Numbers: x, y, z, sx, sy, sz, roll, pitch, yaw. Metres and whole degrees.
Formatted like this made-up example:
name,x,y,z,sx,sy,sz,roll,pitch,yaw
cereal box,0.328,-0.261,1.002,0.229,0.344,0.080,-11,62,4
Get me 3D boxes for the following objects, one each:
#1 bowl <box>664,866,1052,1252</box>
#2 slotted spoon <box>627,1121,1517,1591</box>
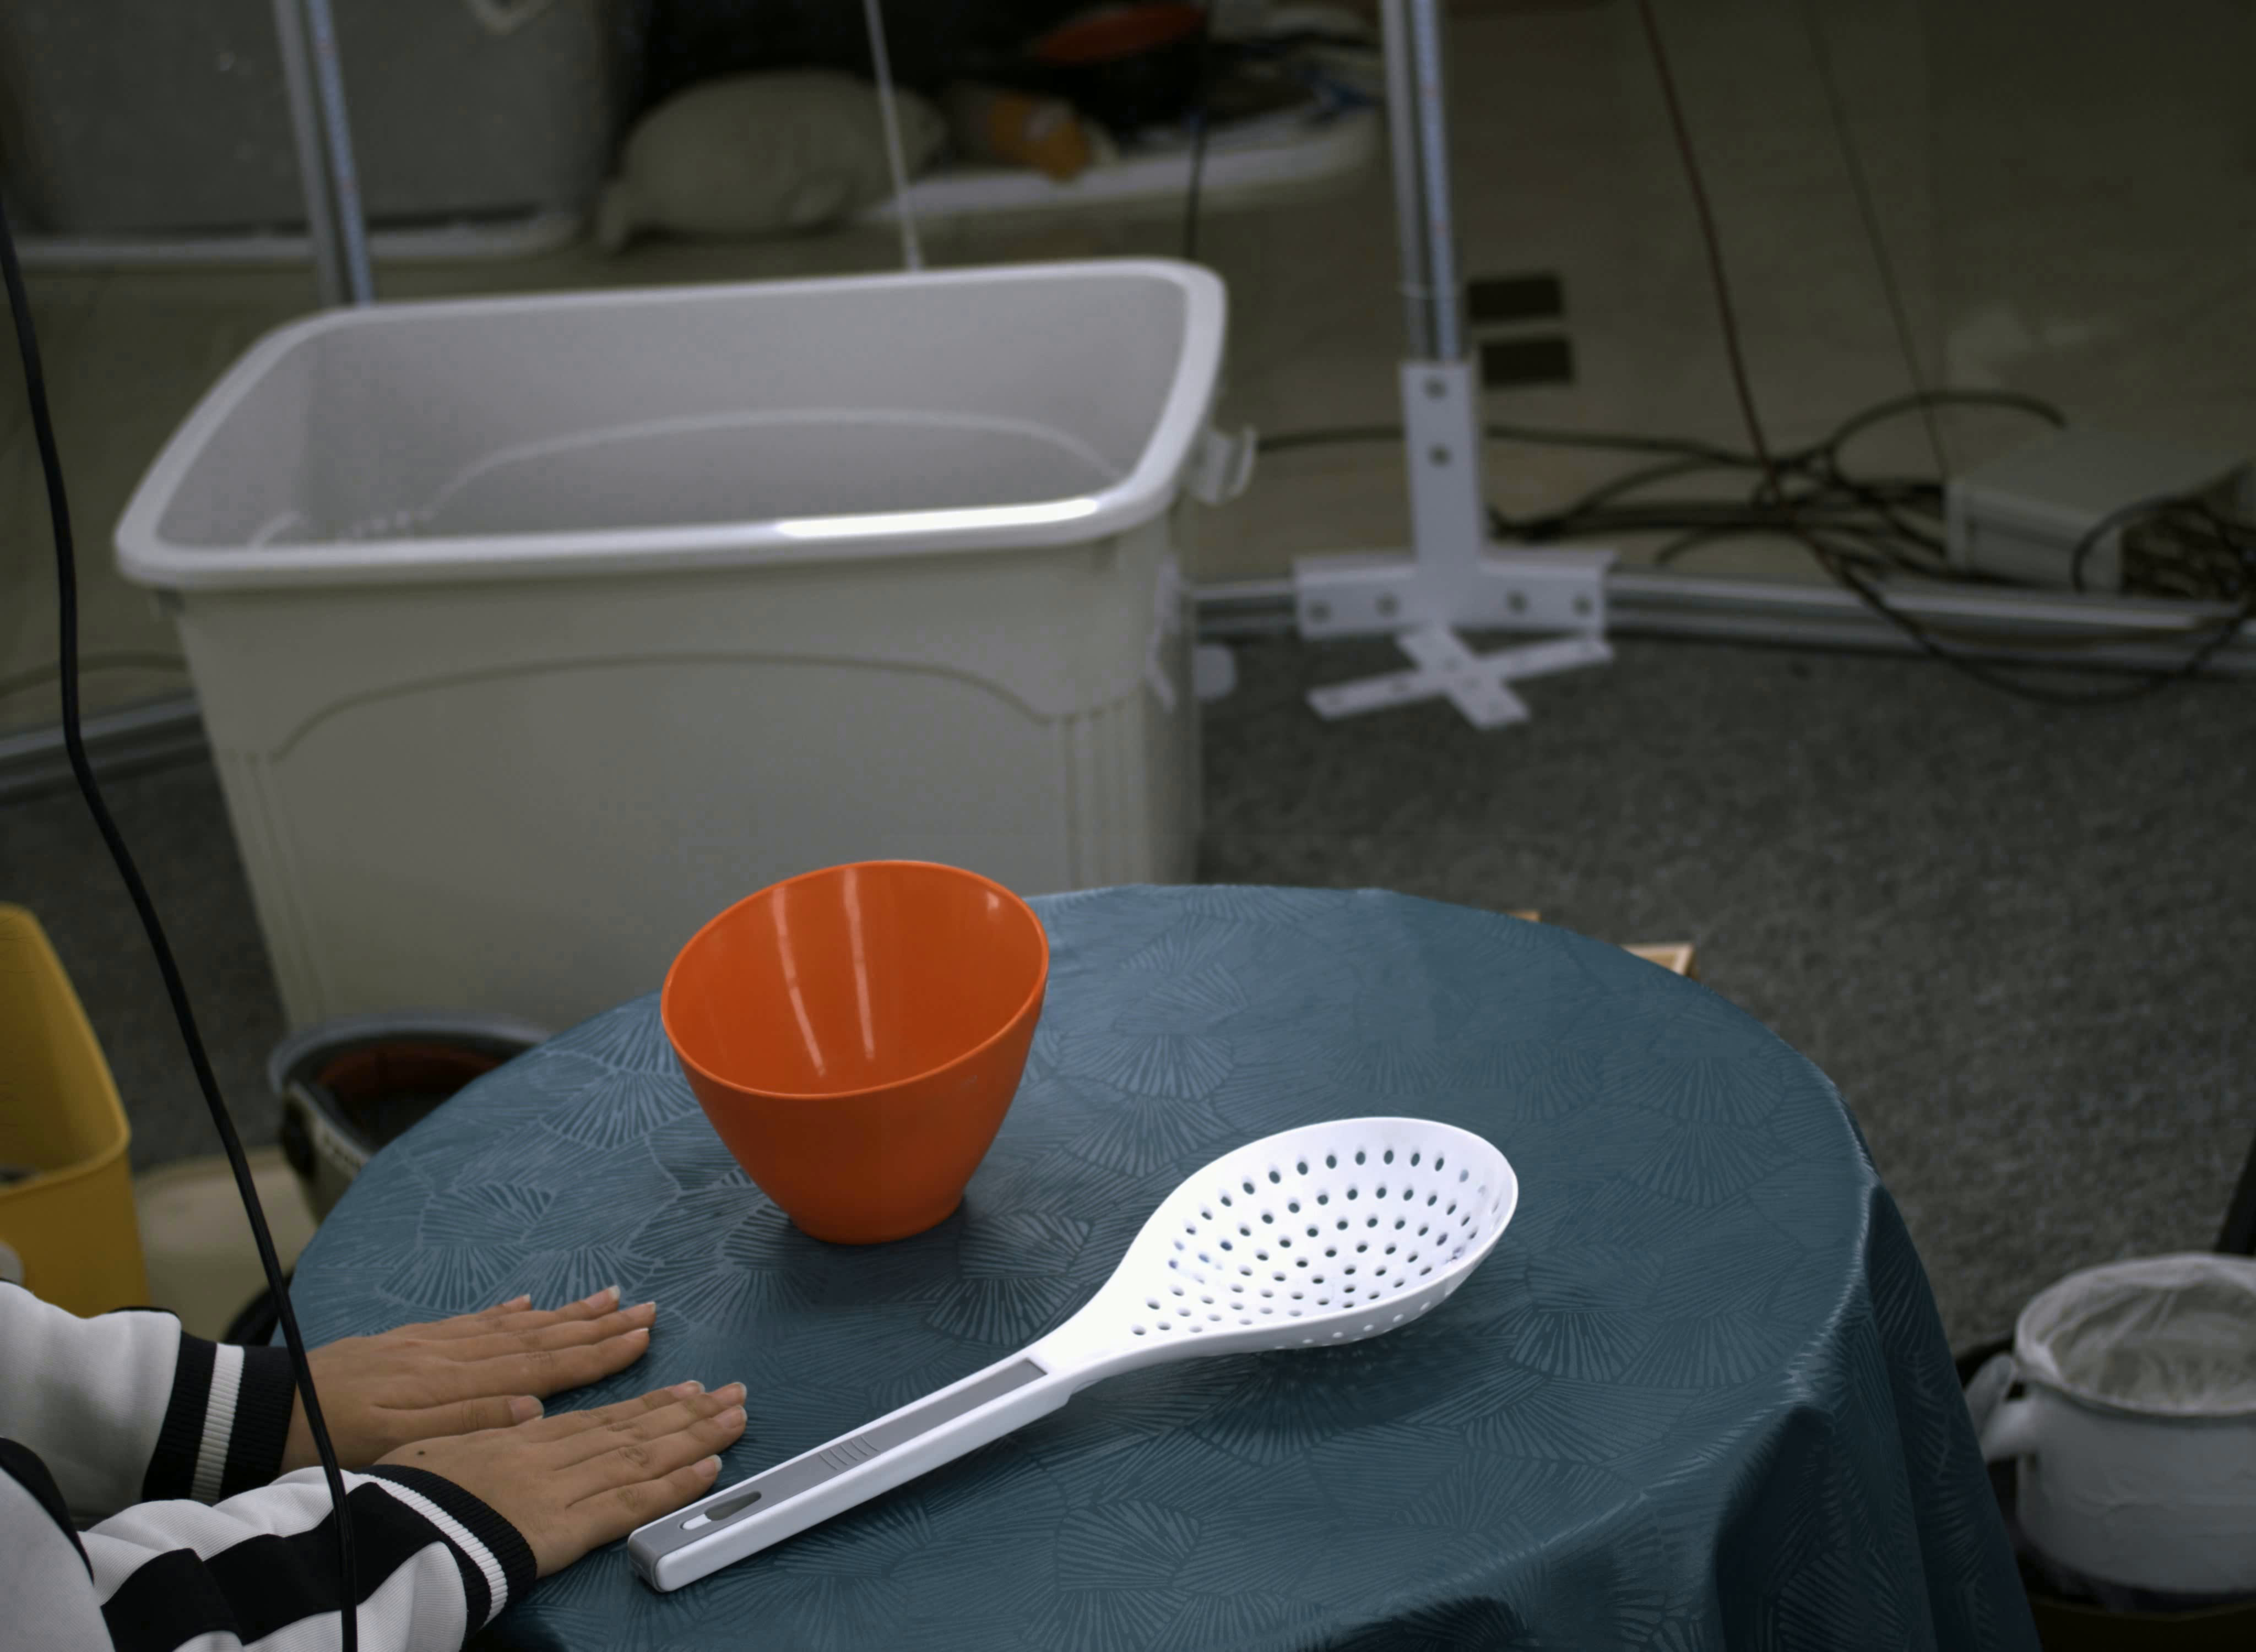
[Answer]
name,x,y,z,sx,sy,sz,roll,pitch,yaw
bowl,-0.099,0.095,2.148,0.148,0.106,0.146,-4,27,2
slotted spoon,-0.018,0.187,1.995,0.348,0.046,0.134,-19,26,-24
